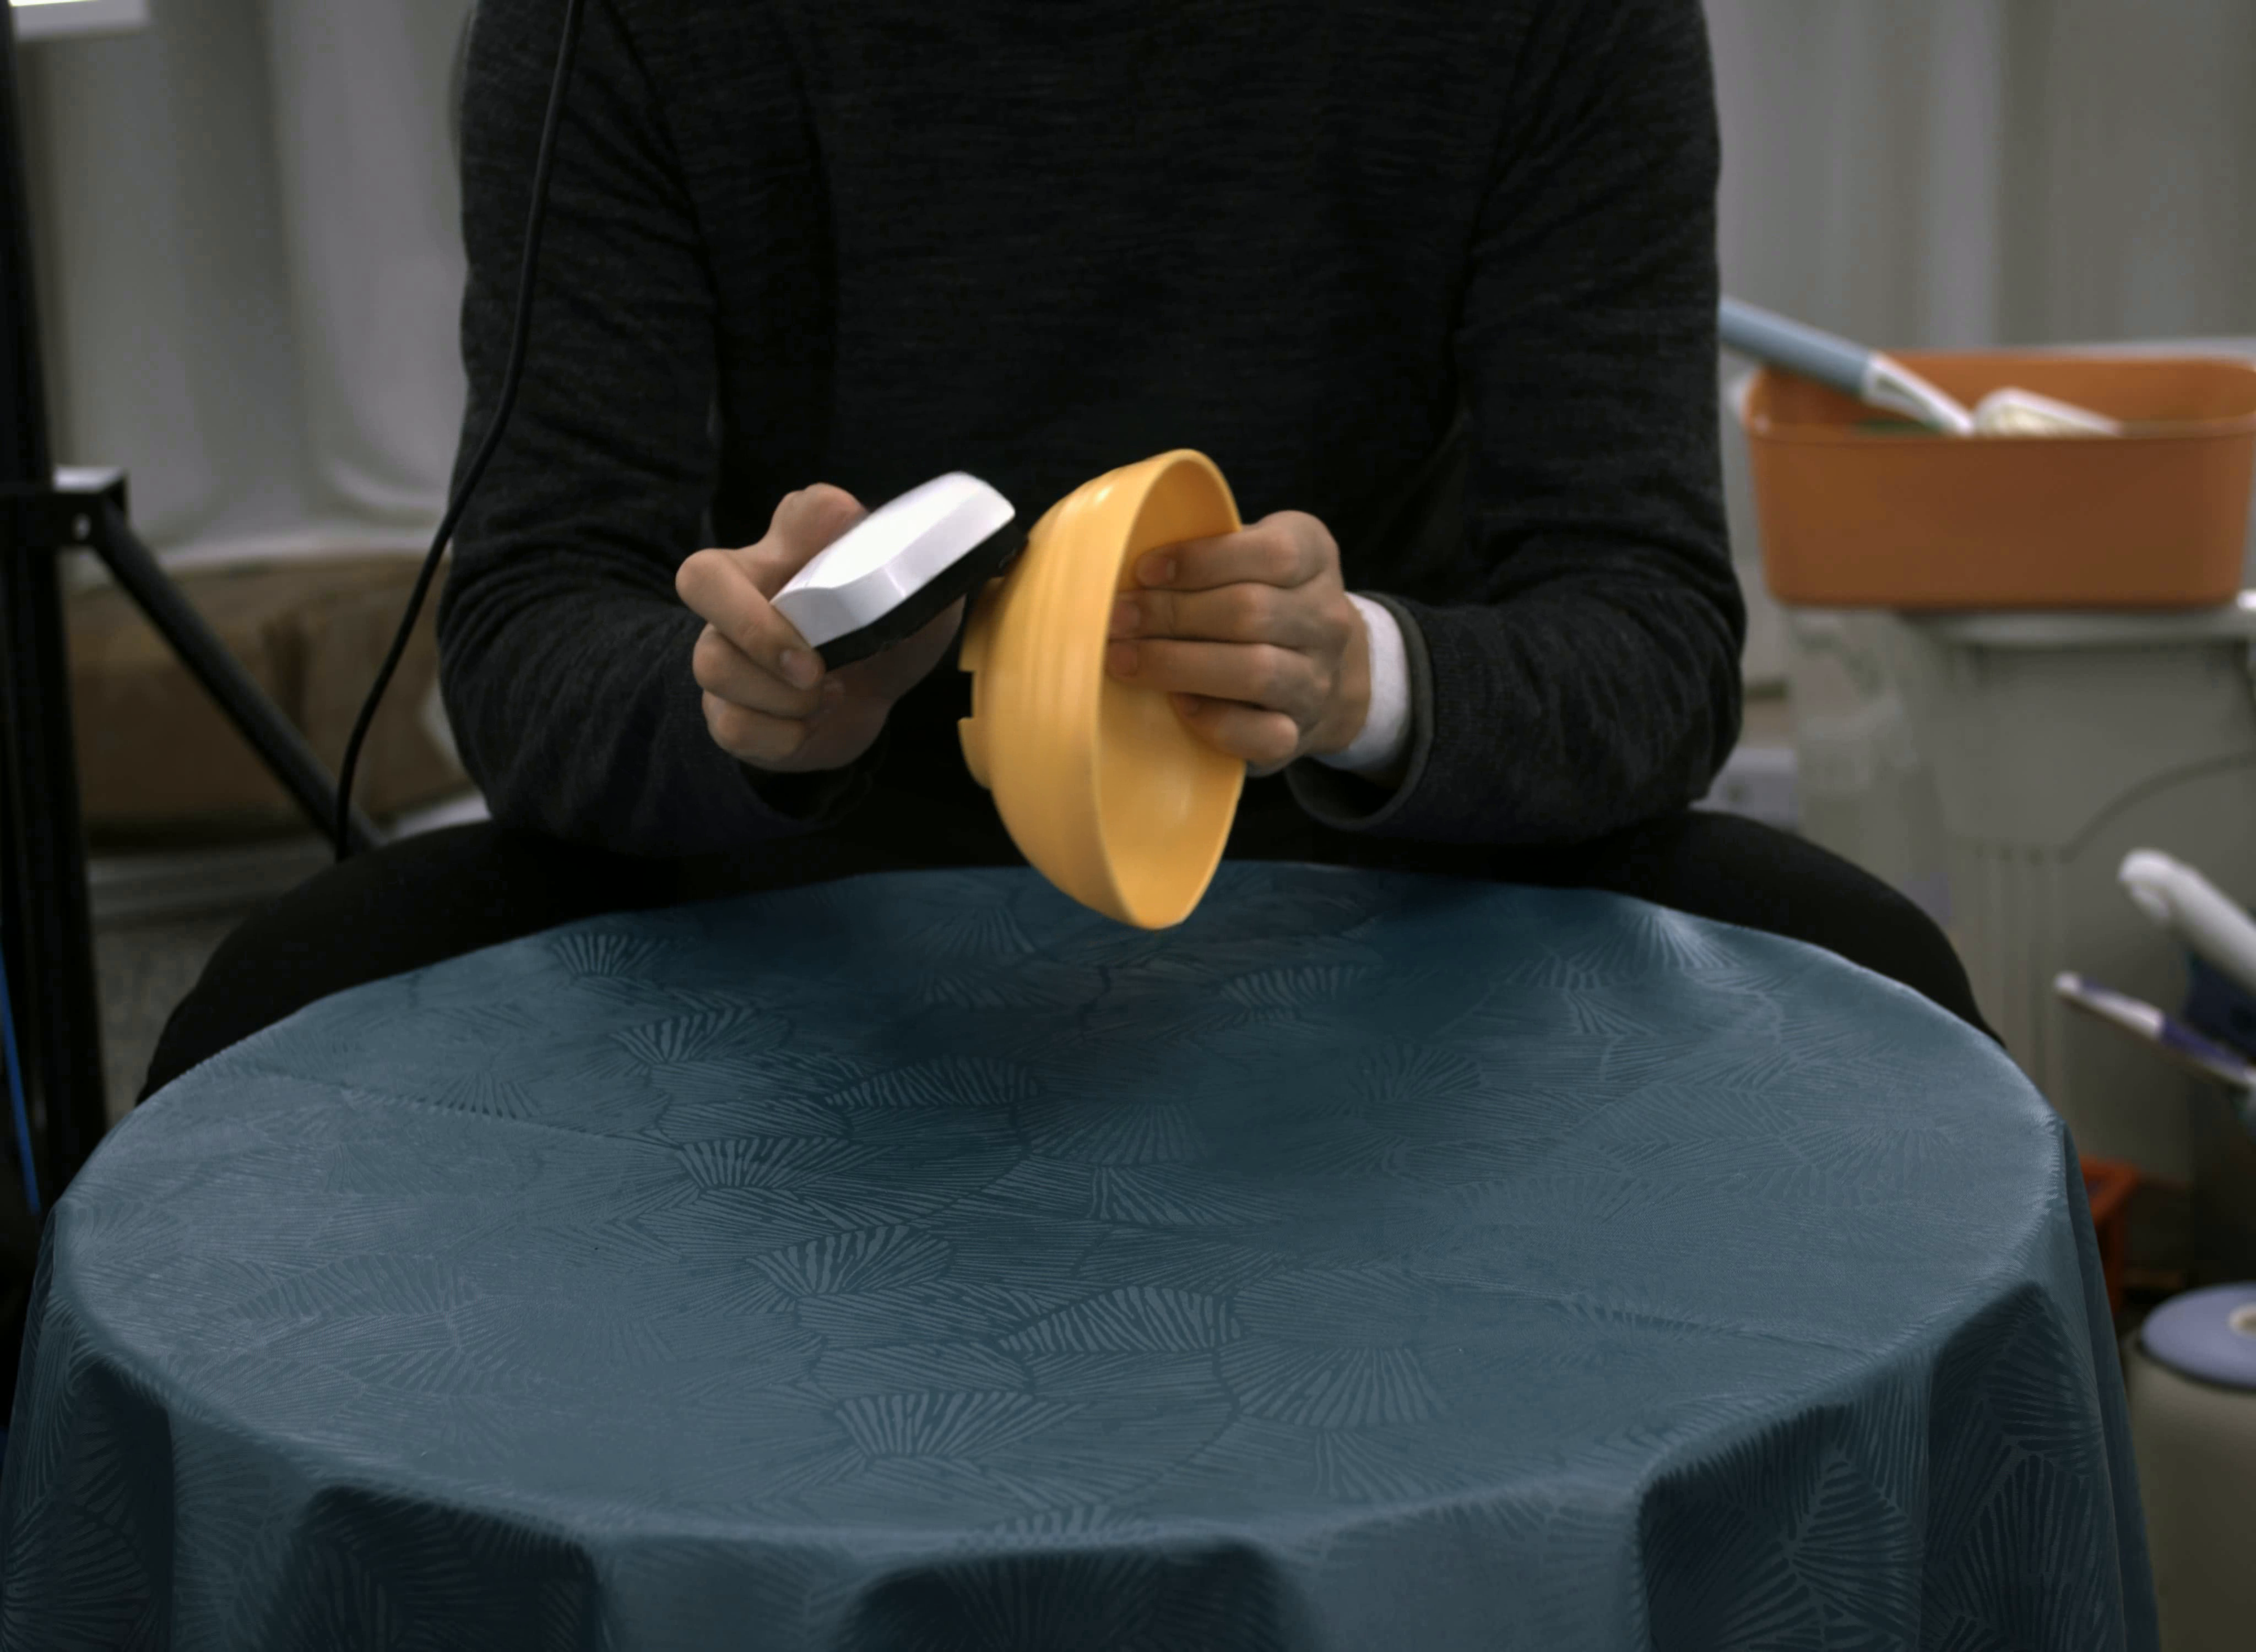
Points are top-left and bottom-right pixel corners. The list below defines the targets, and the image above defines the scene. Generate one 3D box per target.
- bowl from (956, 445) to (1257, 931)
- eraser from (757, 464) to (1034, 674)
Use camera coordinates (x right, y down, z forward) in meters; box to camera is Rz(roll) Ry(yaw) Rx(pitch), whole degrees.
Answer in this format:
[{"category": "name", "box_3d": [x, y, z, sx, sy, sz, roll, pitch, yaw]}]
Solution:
[{"category": "bowl", "box_3d": [-0.012, -0.043, 1.599, 0.061, 0.145, 0.143, 4, 17, 21]}, {"category": "eraser", "box_3d": [-0.070, -0.079, 1.608, 0.063, 0.034, 0.132, -37, 7, -15]}]
